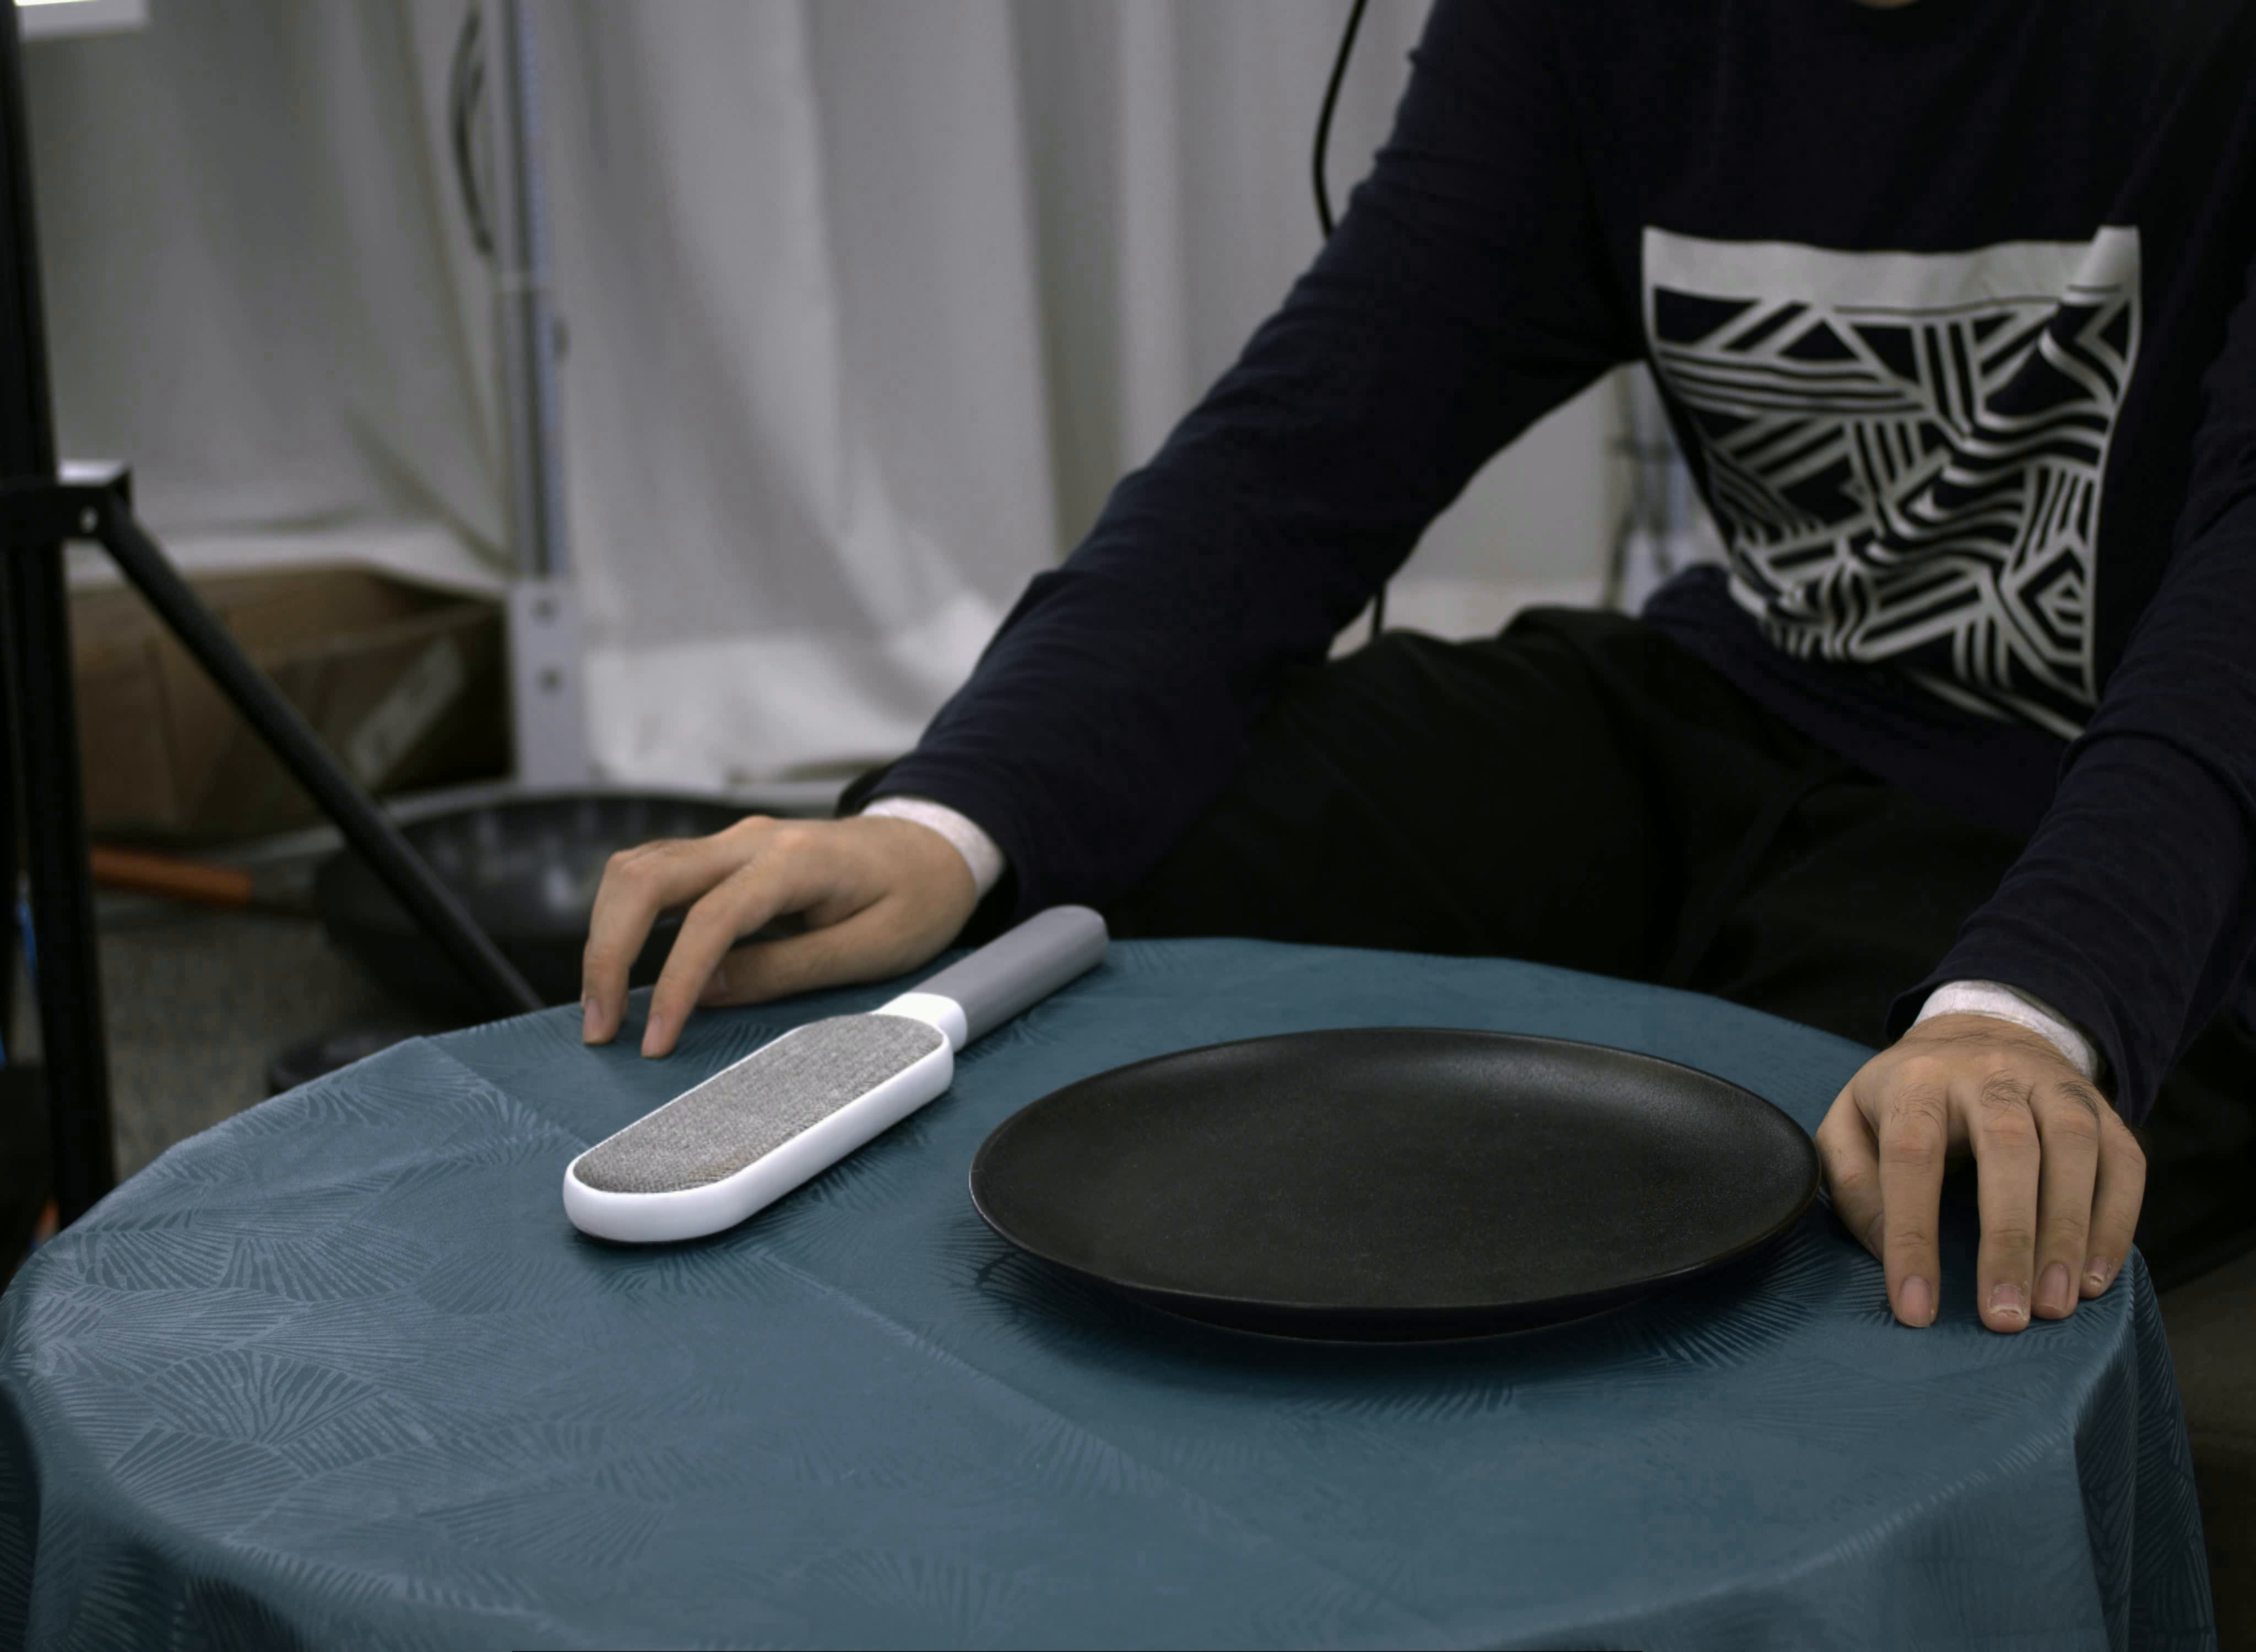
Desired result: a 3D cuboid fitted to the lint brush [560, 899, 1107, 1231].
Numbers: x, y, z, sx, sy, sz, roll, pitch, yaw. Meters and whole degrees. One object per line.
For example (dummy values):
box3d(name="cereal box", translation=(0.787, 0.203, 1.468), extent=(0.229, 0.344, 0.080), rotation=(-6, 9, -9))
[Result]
box3d(name="lint brush", translation=(-0.081, 0.071, 1.657), extent=(0.061, 0.021, 0.304), rotation=(0, 15, 27))

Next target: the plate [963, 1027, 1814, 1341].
box3d(name="plate", translation=(0.075, 0.105, 1.519), extent=(0.243, 0.023, 0.245), rotation=(-3, 16, -1))
